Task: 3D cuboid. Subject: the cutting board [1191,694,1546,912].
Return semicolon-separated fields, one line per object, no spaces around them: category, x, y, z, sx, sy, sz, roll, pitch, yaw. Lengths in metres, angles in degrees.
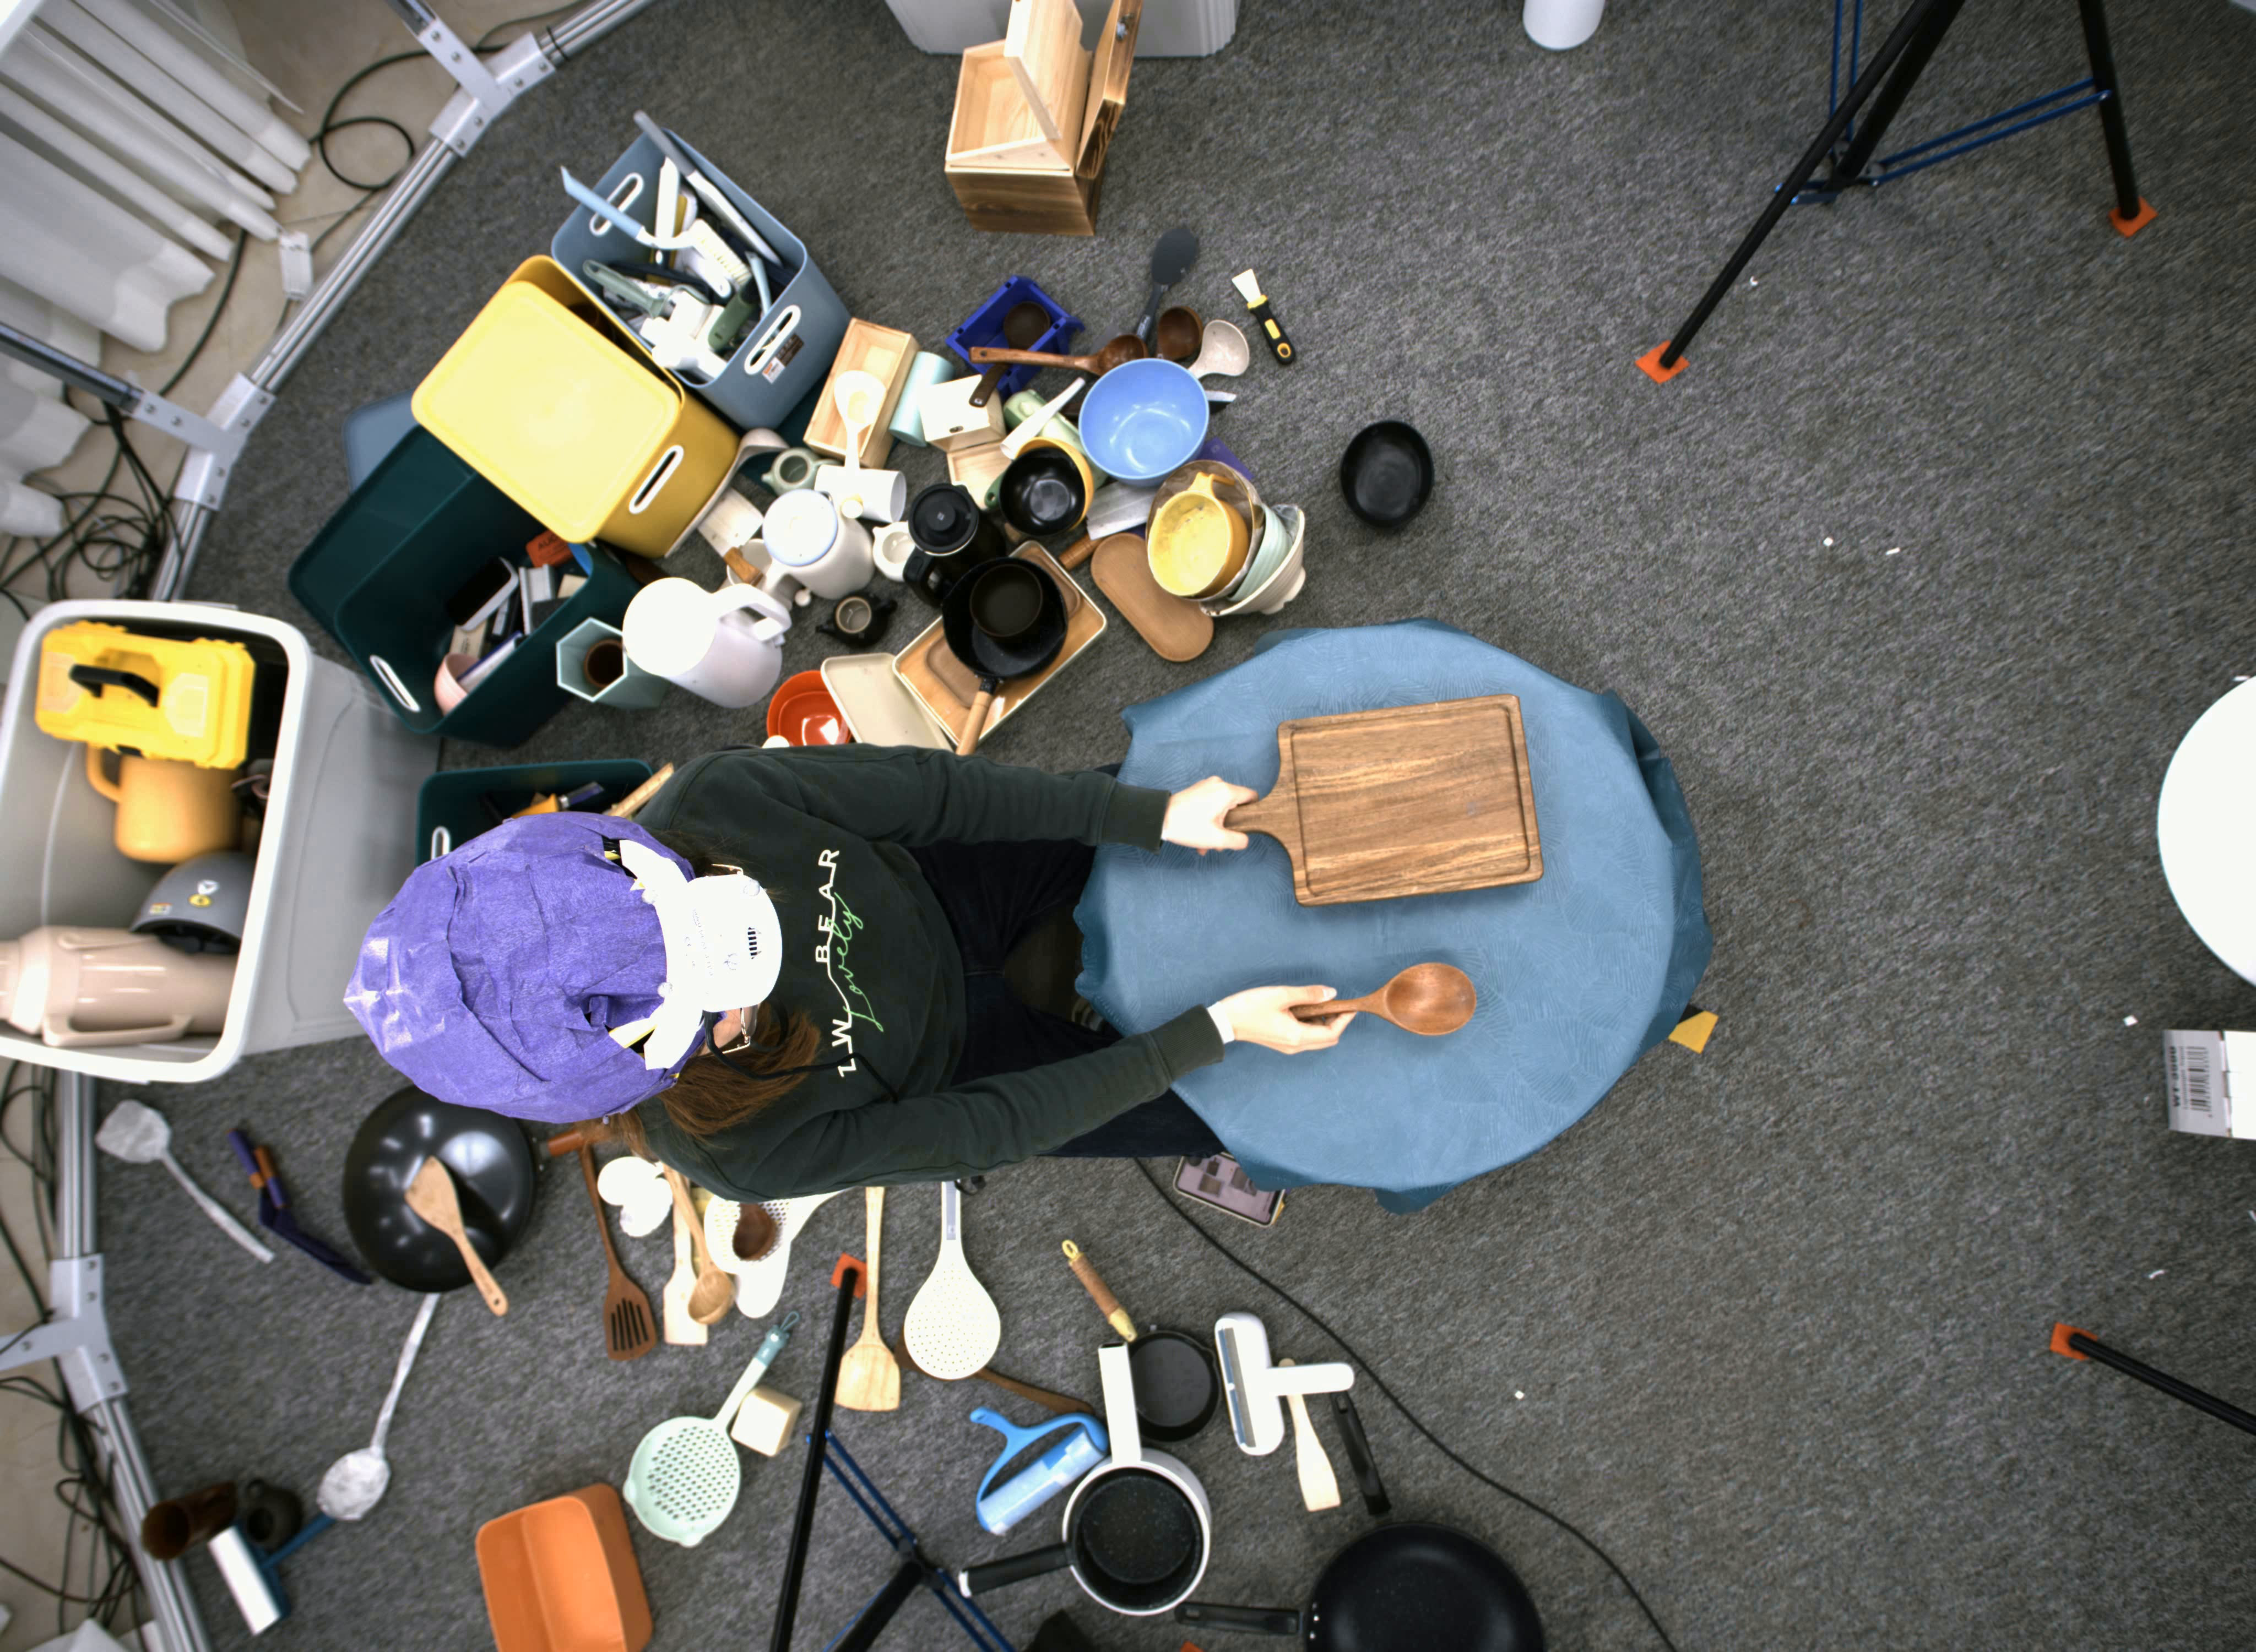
cutting board;0.240;-0.019;1.423;0.353;0.023;0.199;-7;84;8

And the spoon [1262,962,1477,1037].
spoon;0.243;0.179;1.395;0.216;0.017;0.075;-5;81;5
